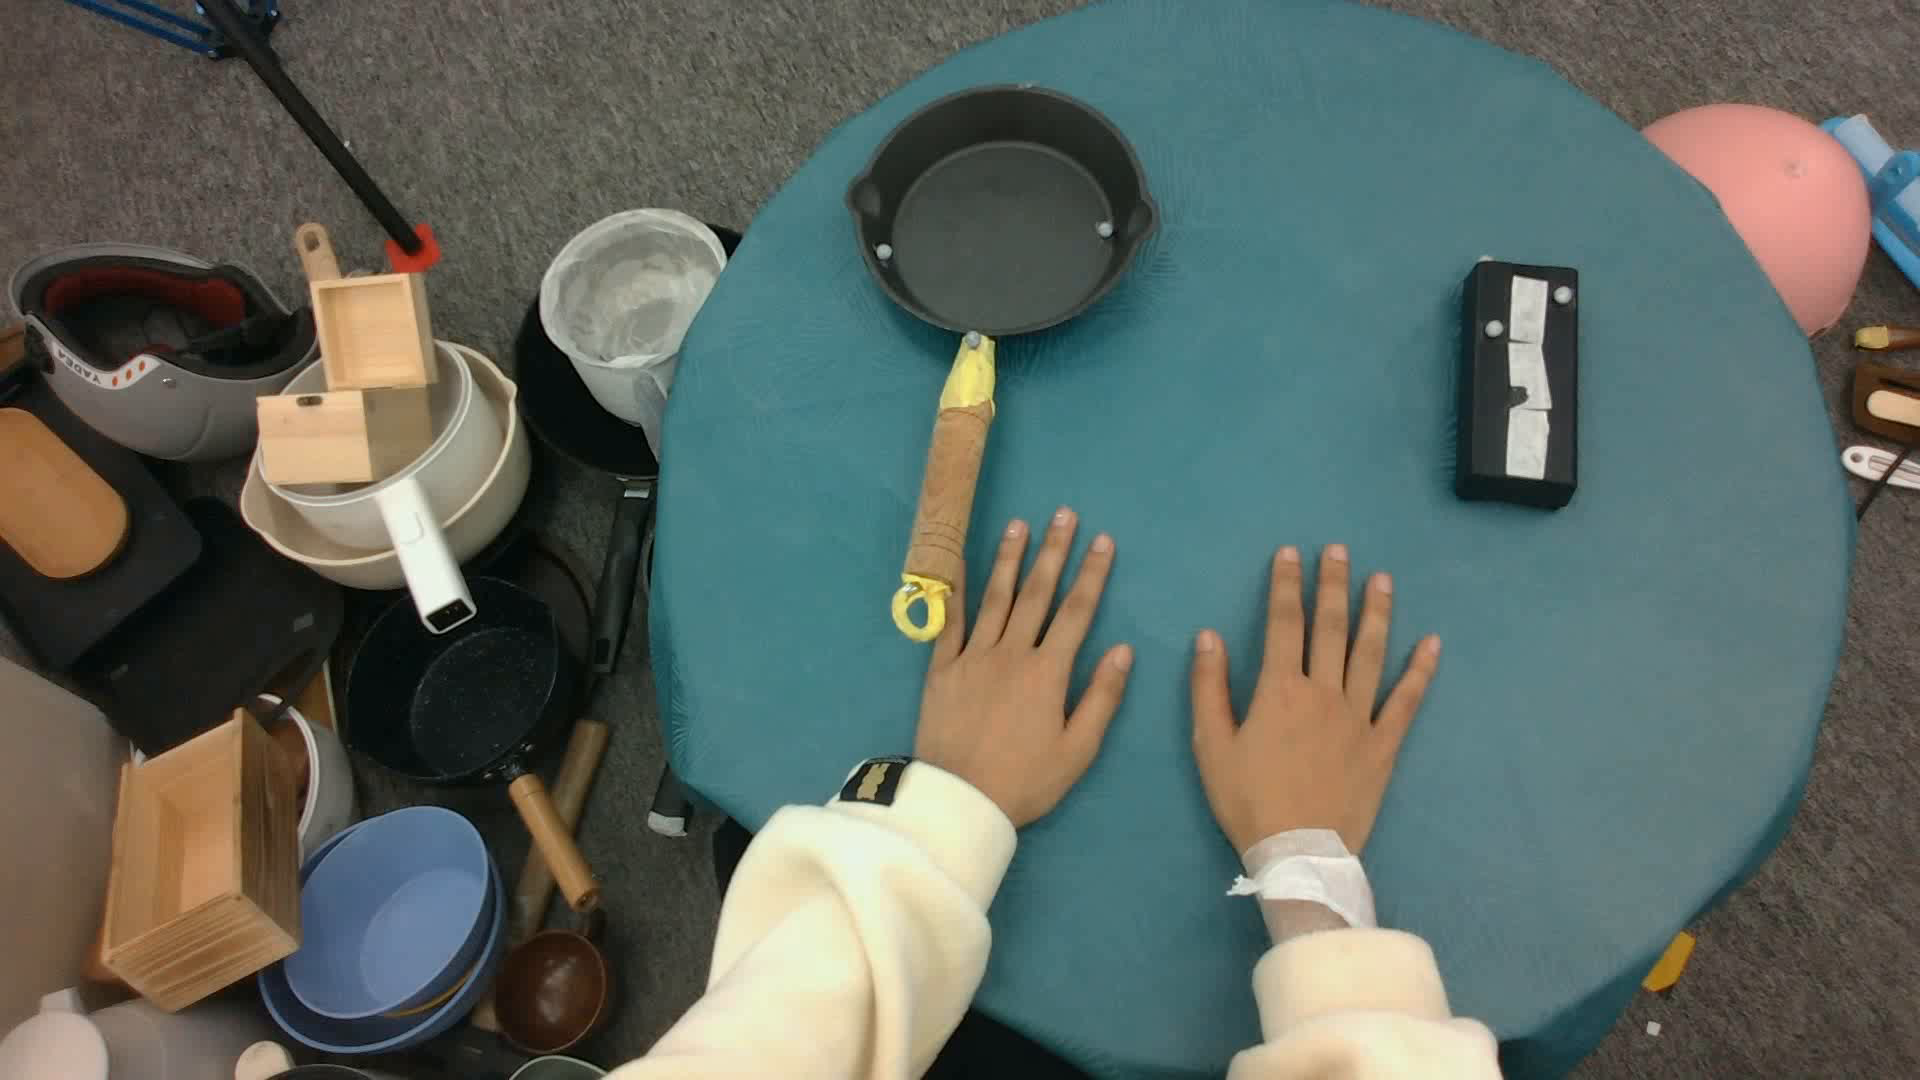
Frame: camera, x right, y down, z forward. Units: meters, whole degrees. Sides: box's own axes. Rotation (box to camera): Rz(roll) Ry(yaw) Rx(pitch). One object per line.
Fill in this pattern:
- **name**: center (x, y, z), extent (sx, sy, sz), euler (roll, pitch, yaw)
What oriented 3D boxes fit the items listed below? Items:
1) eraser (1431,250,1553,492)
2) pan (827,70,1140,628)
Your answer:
- **eraser**: center (0.270, -0.087, 0.699), extent (0.053, 0.030, 0.126), euler (7, 71, 7)
- **pan**: center (-0.003, -0.106, 0.711), extent (0.169, 0.049, 0.325), euler (9, 69, 6)
